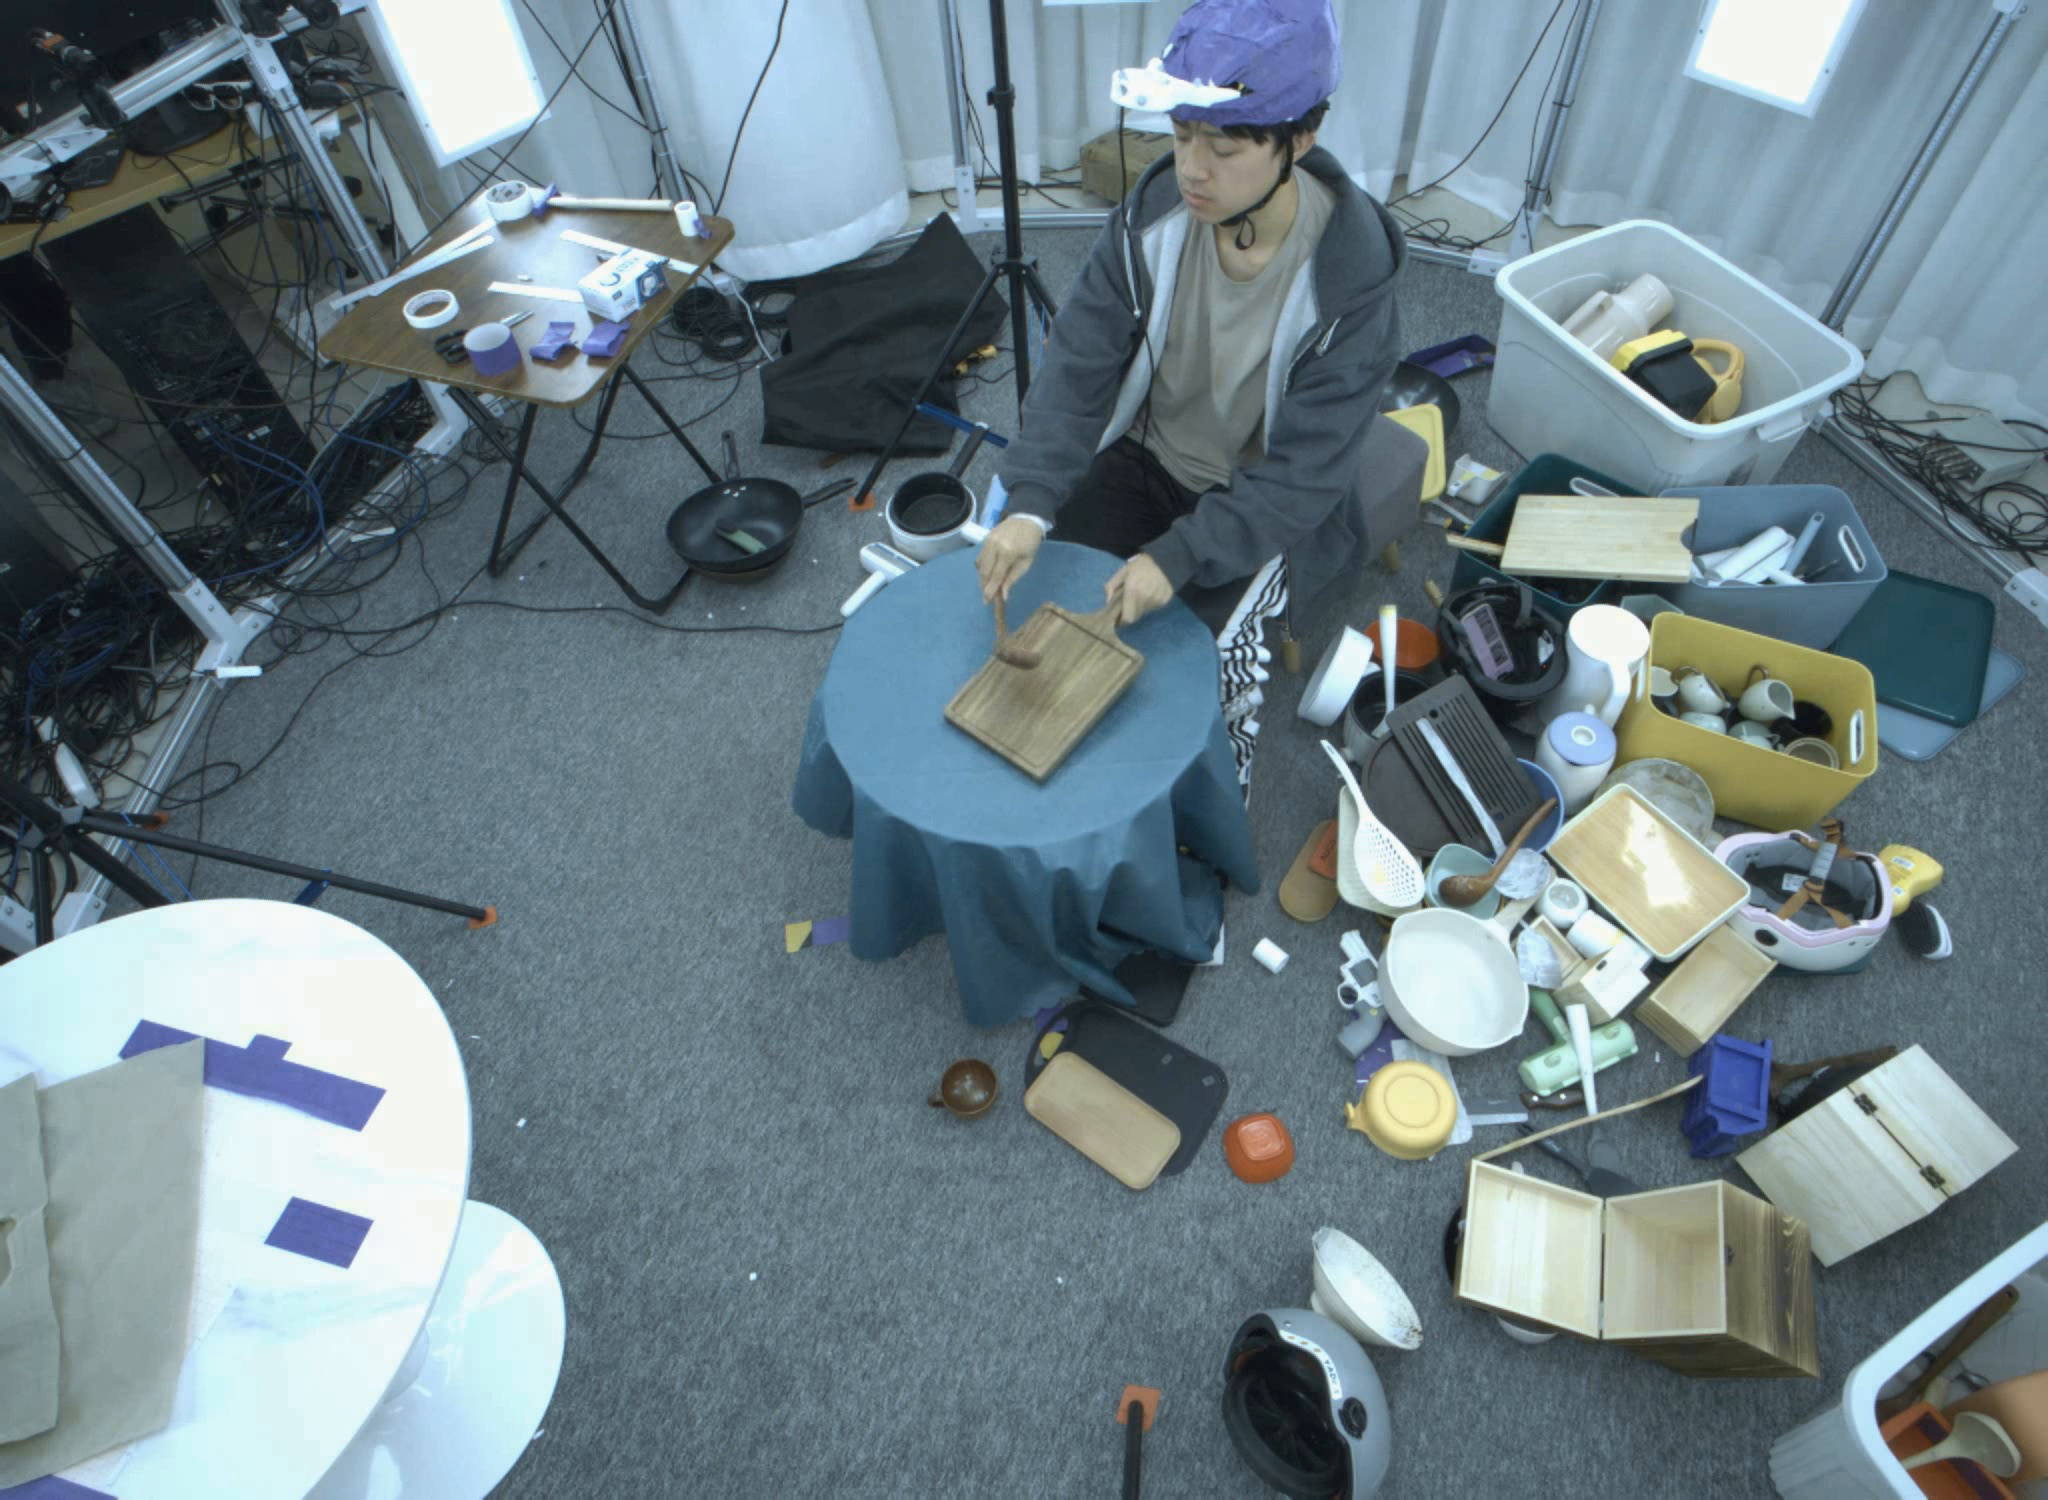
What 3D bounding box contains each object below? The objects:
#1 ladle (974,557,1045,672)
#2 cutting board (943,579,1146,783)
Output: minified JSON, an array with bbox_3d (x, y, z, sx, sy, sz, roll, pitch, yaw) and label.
[{"bbox_3d":[-0.028,-0.211,1.813,0.064,0.078,0.256,-39,47,29],"label":"ladle"},{"bbox_3d":[0.061,-0.127,1.831,0.197,0.023,0.353,34,72,23],"label":"cutting board"}]
